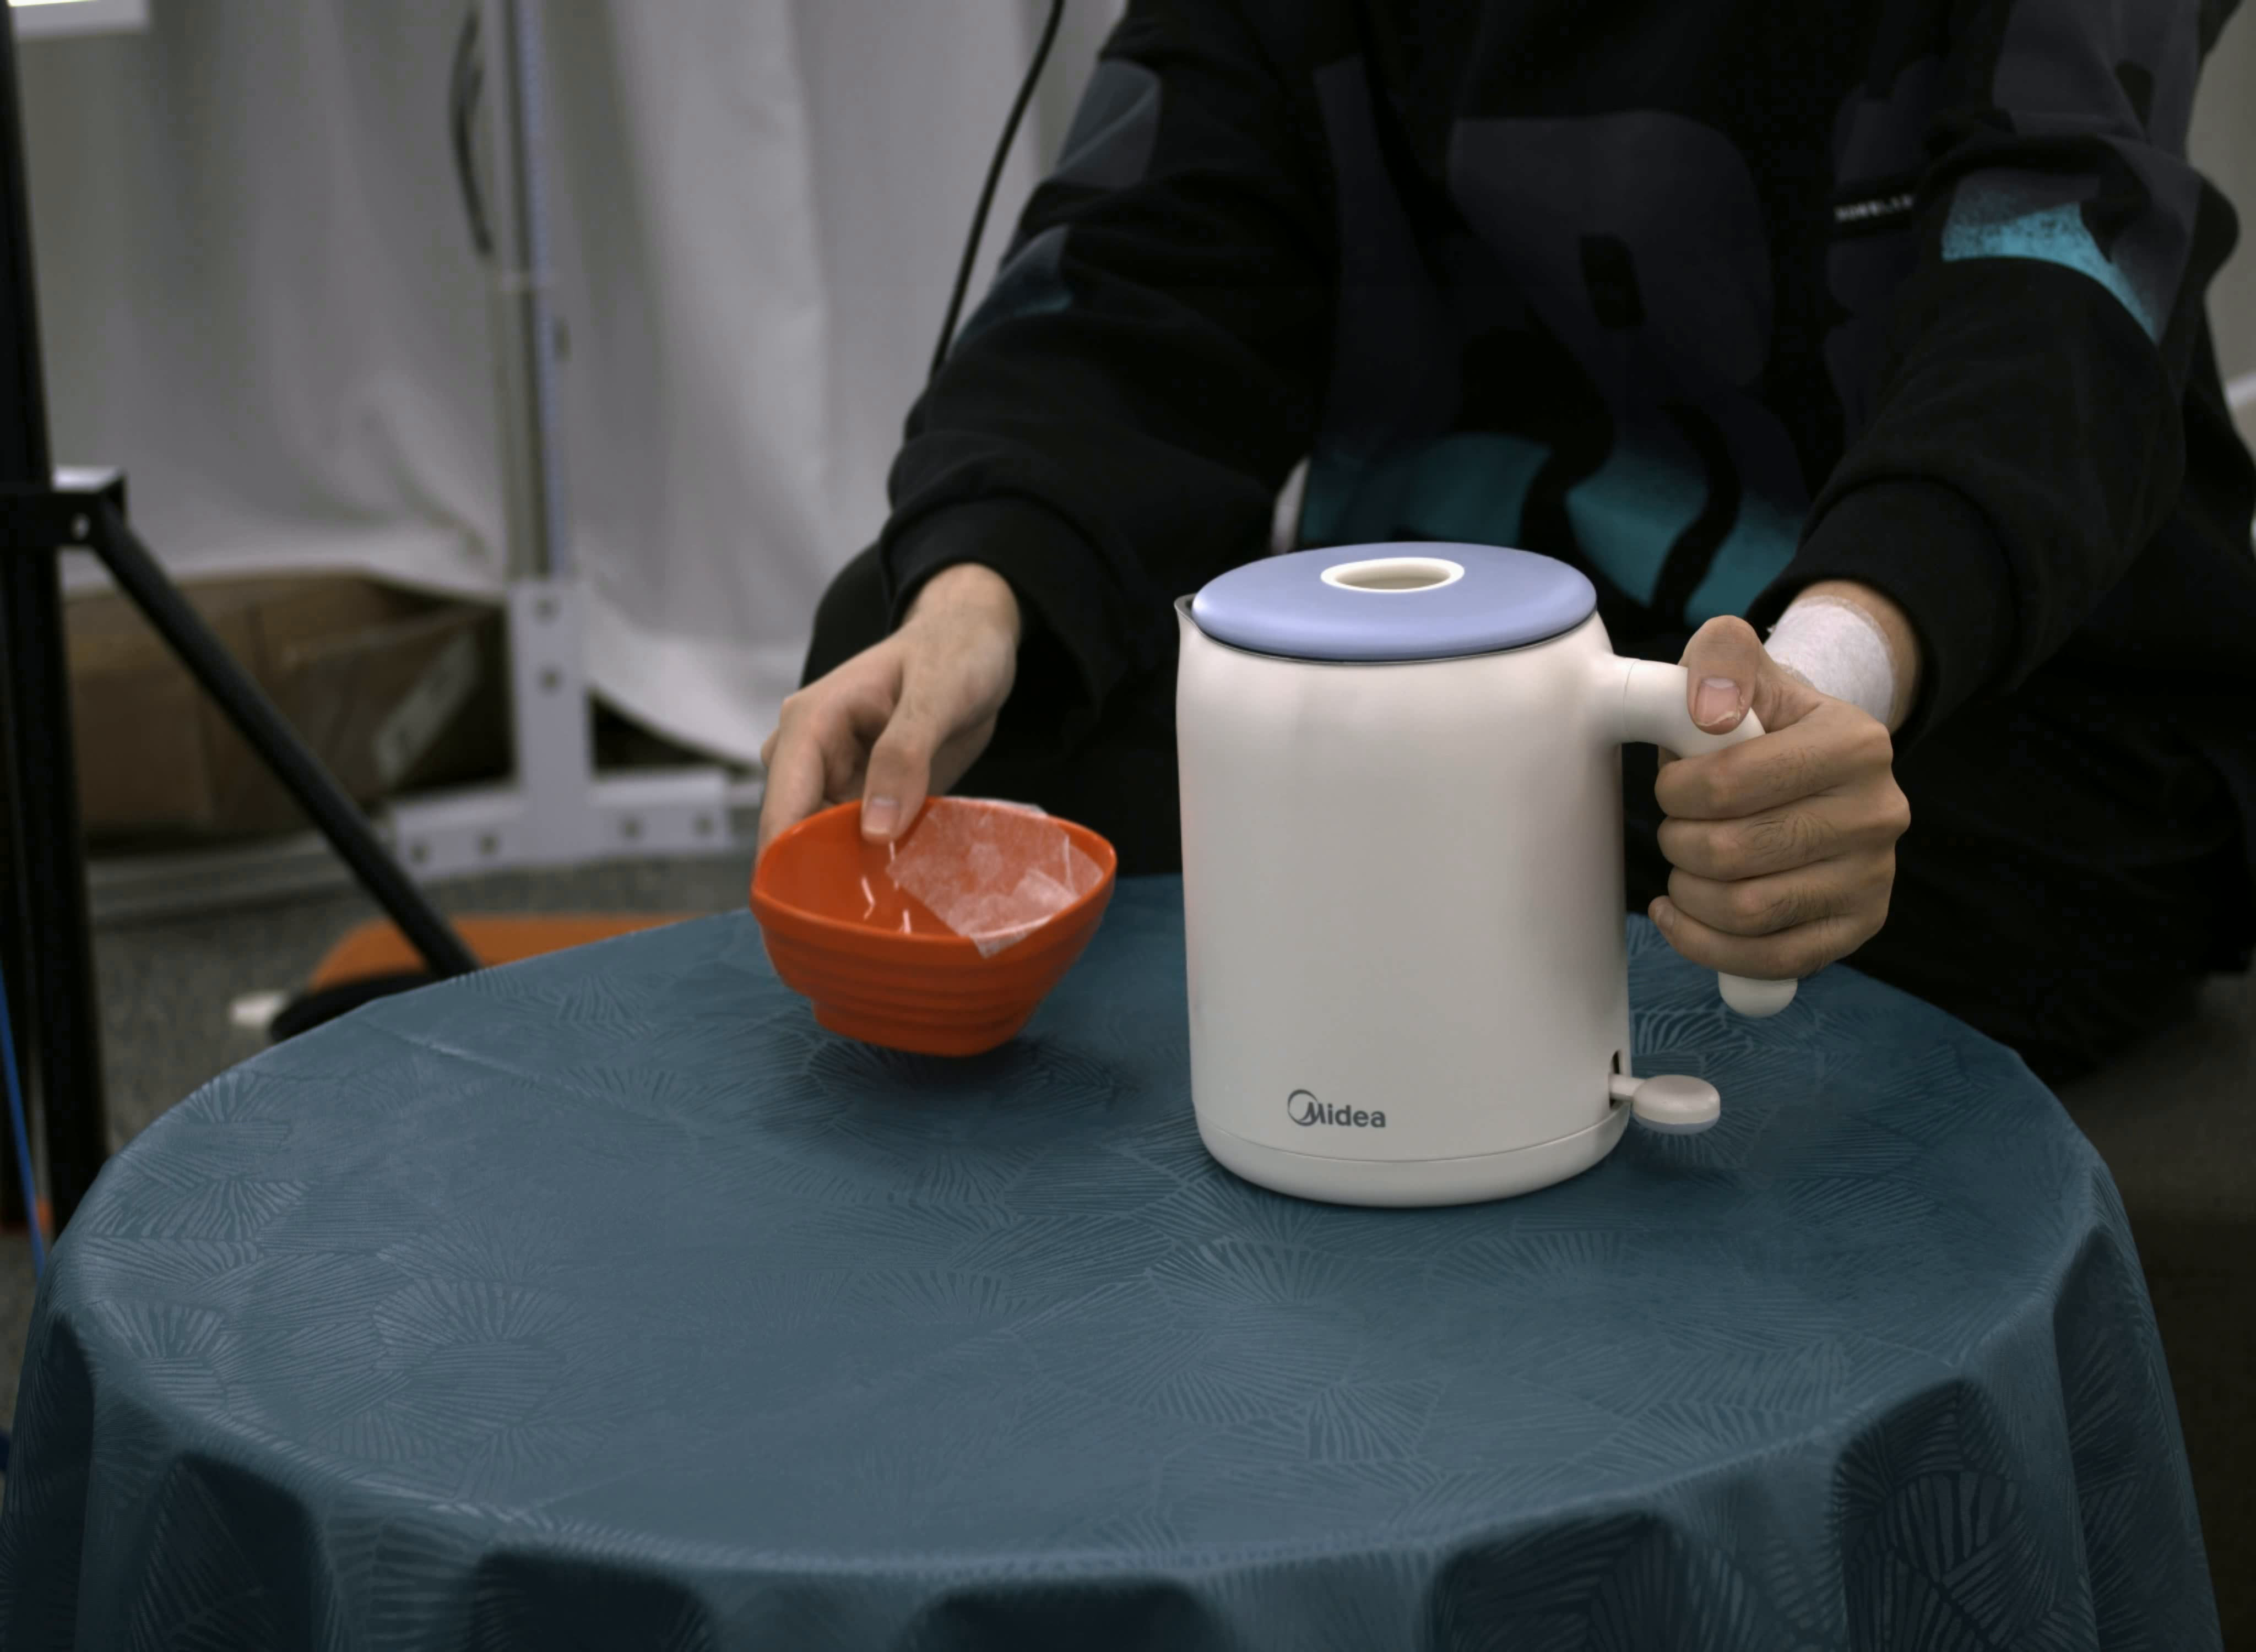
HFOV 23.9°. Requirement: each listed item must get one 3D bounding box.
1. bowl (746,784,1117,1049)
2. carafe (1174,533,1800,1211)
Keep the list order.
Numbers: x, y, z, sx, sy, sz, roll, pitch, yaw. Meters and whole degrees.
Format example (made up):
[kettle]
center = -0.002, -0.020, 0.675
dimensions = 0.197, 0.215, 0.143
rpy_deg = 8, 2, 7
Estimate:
[bowl]
center = -0.060, 0.032, 1.676
dimensions = 0.118, 0.051, 0.120
rpy_deg = -3, 23, 0
[carafe]
center = 0.104, 0.015, 1.557
dimensions = 0.193, 0.182, 0.130
rpy_deg = 6, 19, 21
